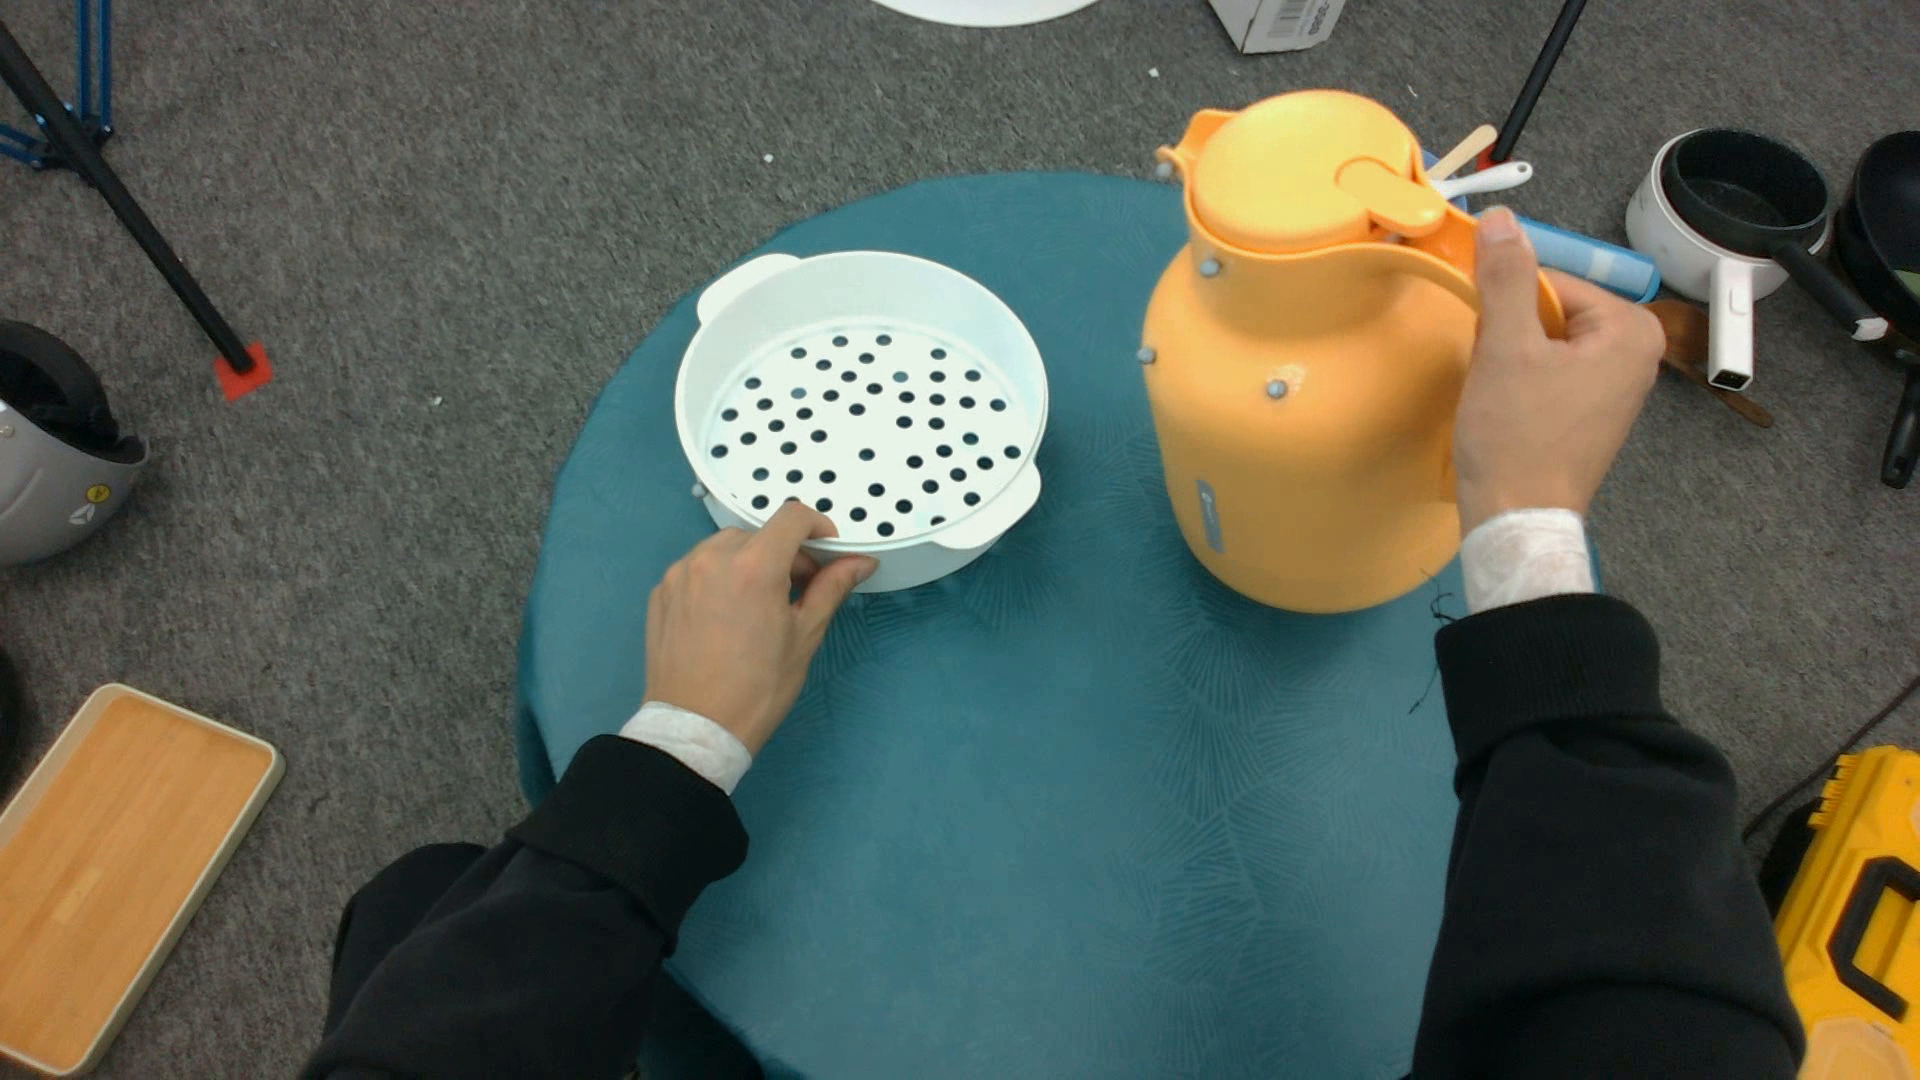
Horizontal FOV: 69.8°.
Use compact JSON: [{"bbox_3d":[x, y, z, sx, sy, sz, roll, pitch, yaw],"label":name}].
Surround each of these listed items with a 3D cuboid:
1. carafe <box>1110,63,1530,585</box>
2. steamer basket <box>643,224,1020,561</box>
[{"bbox_3d":[0.170,-0.092,0.653,0.164,0.260,0.202,-47,52,-11],"label":"carafe"},{"bbox_3d":[-0.068,-0.081,0.759,0.202,0.069,0.231,-39,64,-23],"label":"steamer basket"}]
